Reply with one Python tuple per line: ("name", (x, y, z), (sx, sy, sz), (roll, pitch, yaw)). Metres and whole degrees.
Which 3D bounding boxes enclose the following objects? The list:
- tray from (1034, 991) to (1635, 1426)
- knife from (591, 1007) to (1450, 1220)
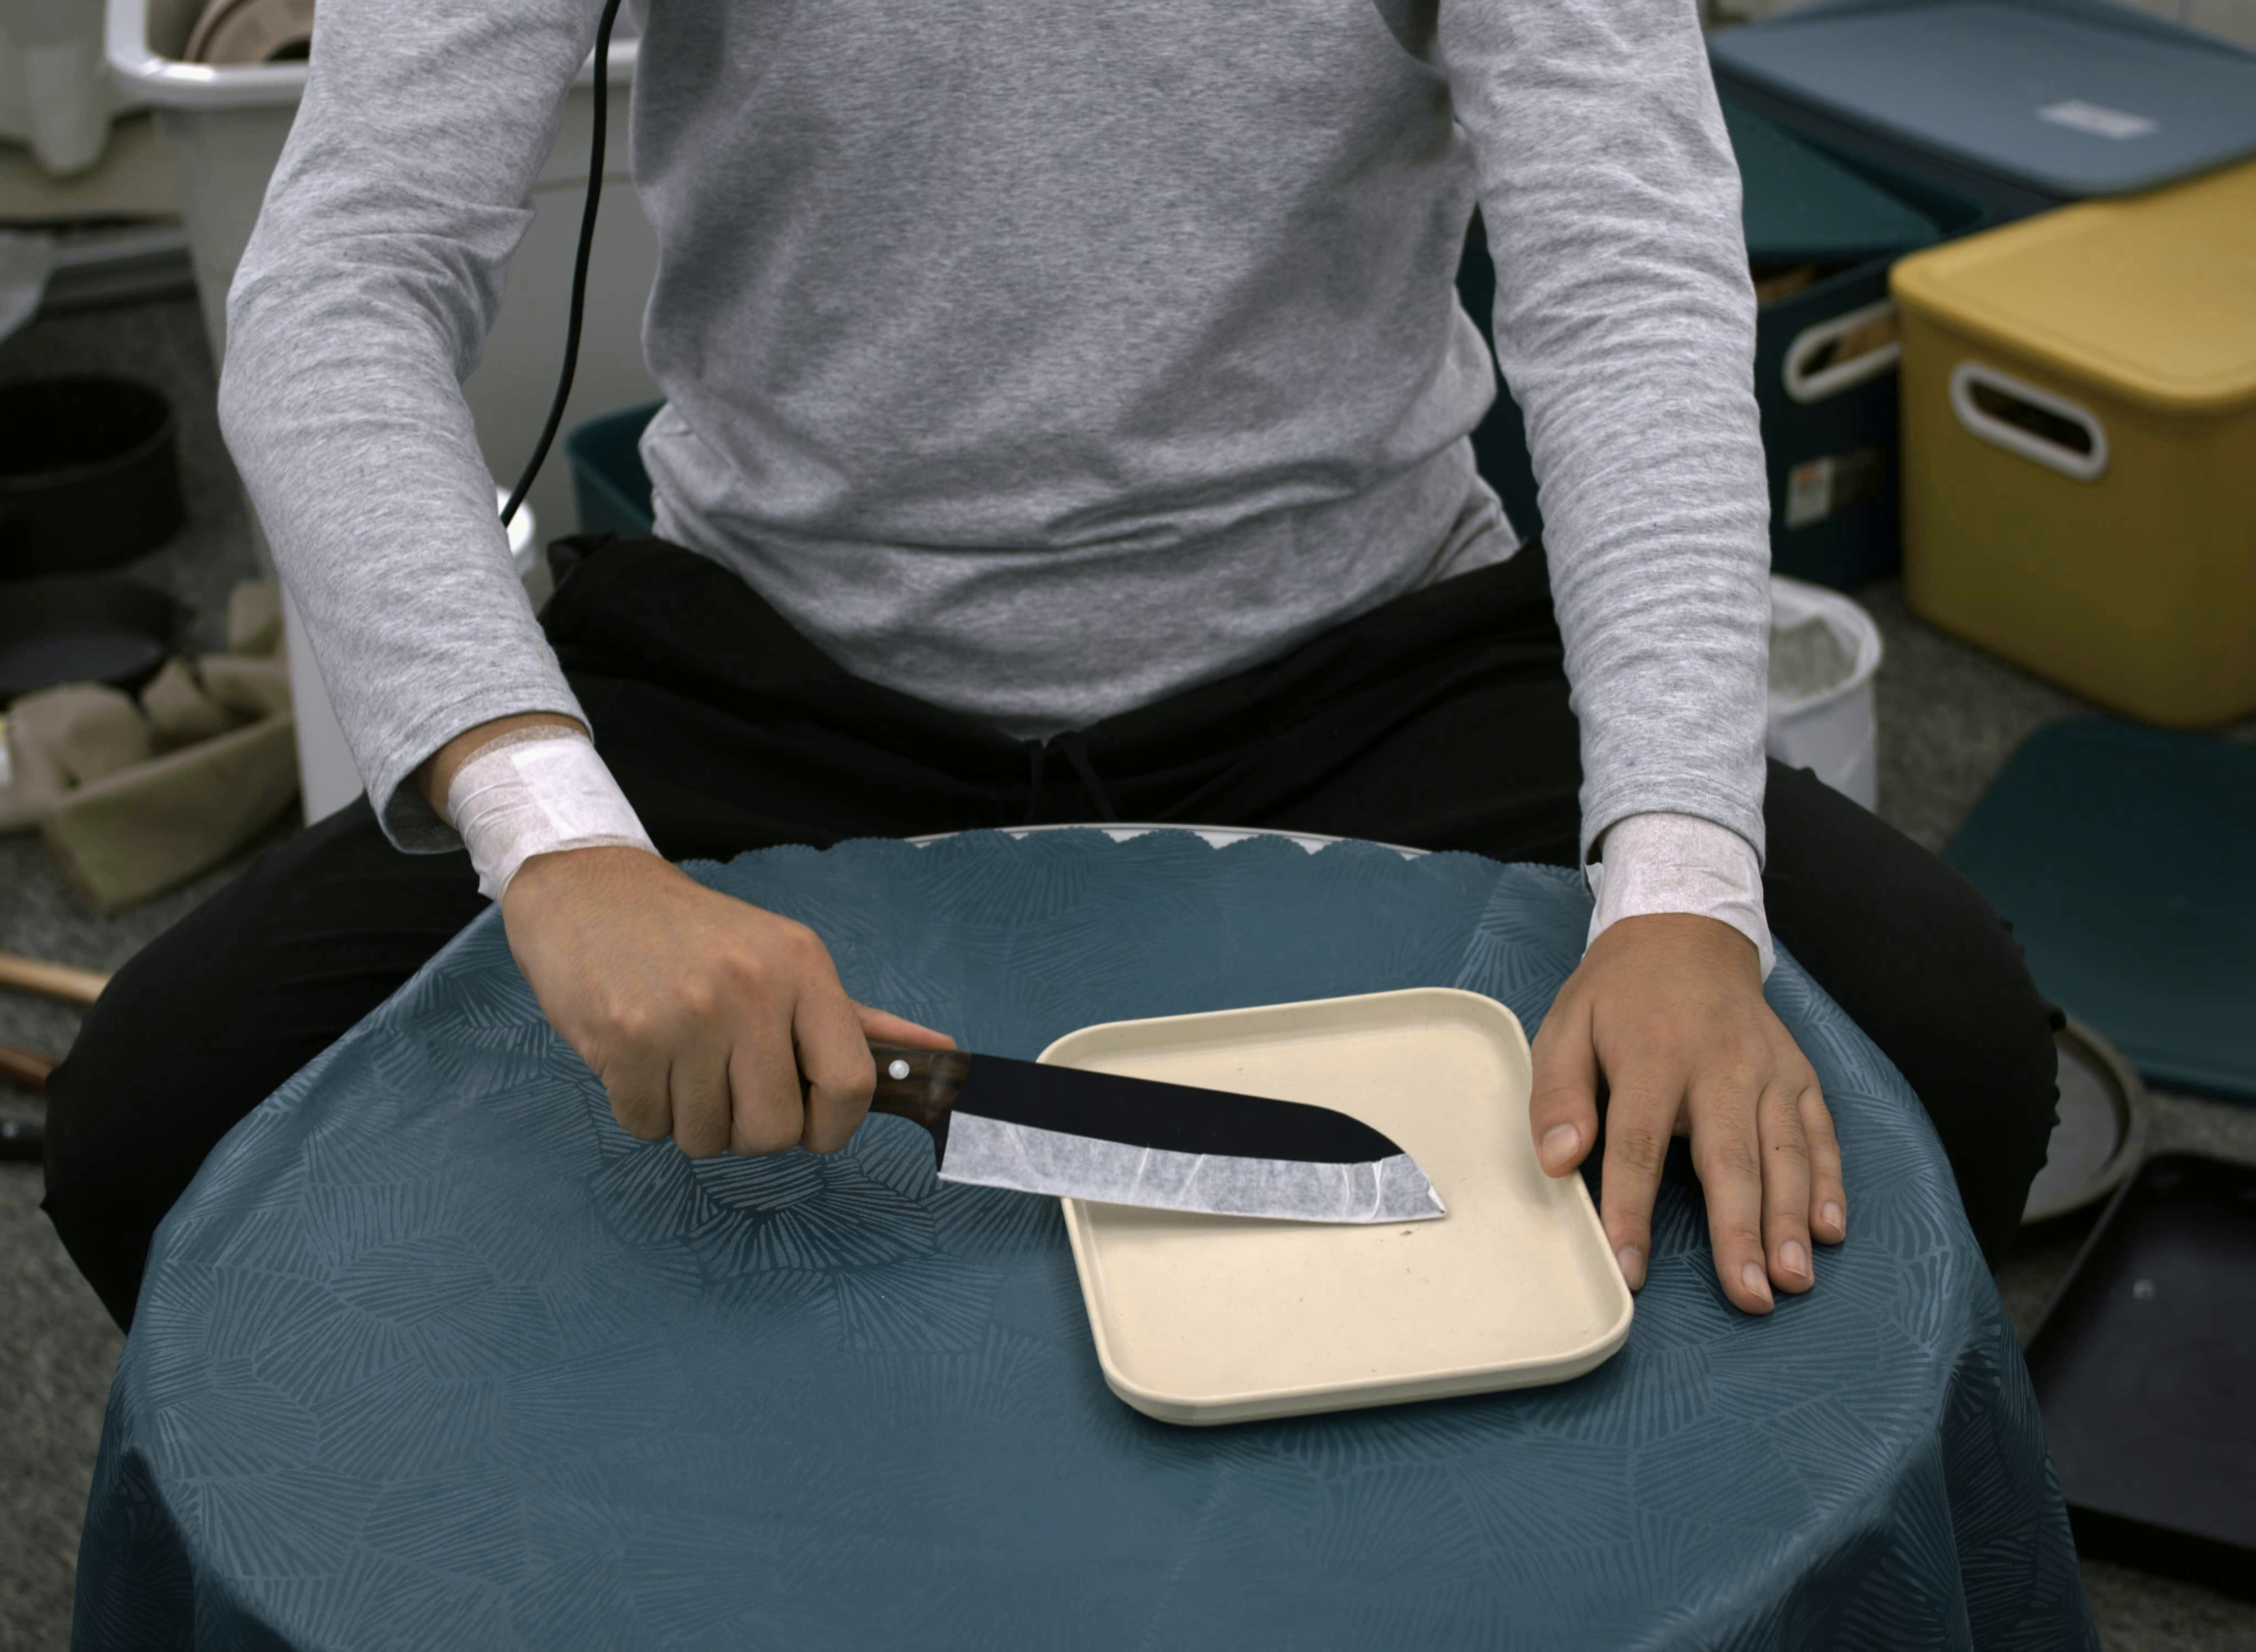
("tray", (0.063, 0.123, 1.834), (0.171, 0.017, 0.243), (-5, 27, -6))
("knife", (-0.036, 0.095, 1.840), (0.288, 0.020, 0.051), (10, 71, 2))
